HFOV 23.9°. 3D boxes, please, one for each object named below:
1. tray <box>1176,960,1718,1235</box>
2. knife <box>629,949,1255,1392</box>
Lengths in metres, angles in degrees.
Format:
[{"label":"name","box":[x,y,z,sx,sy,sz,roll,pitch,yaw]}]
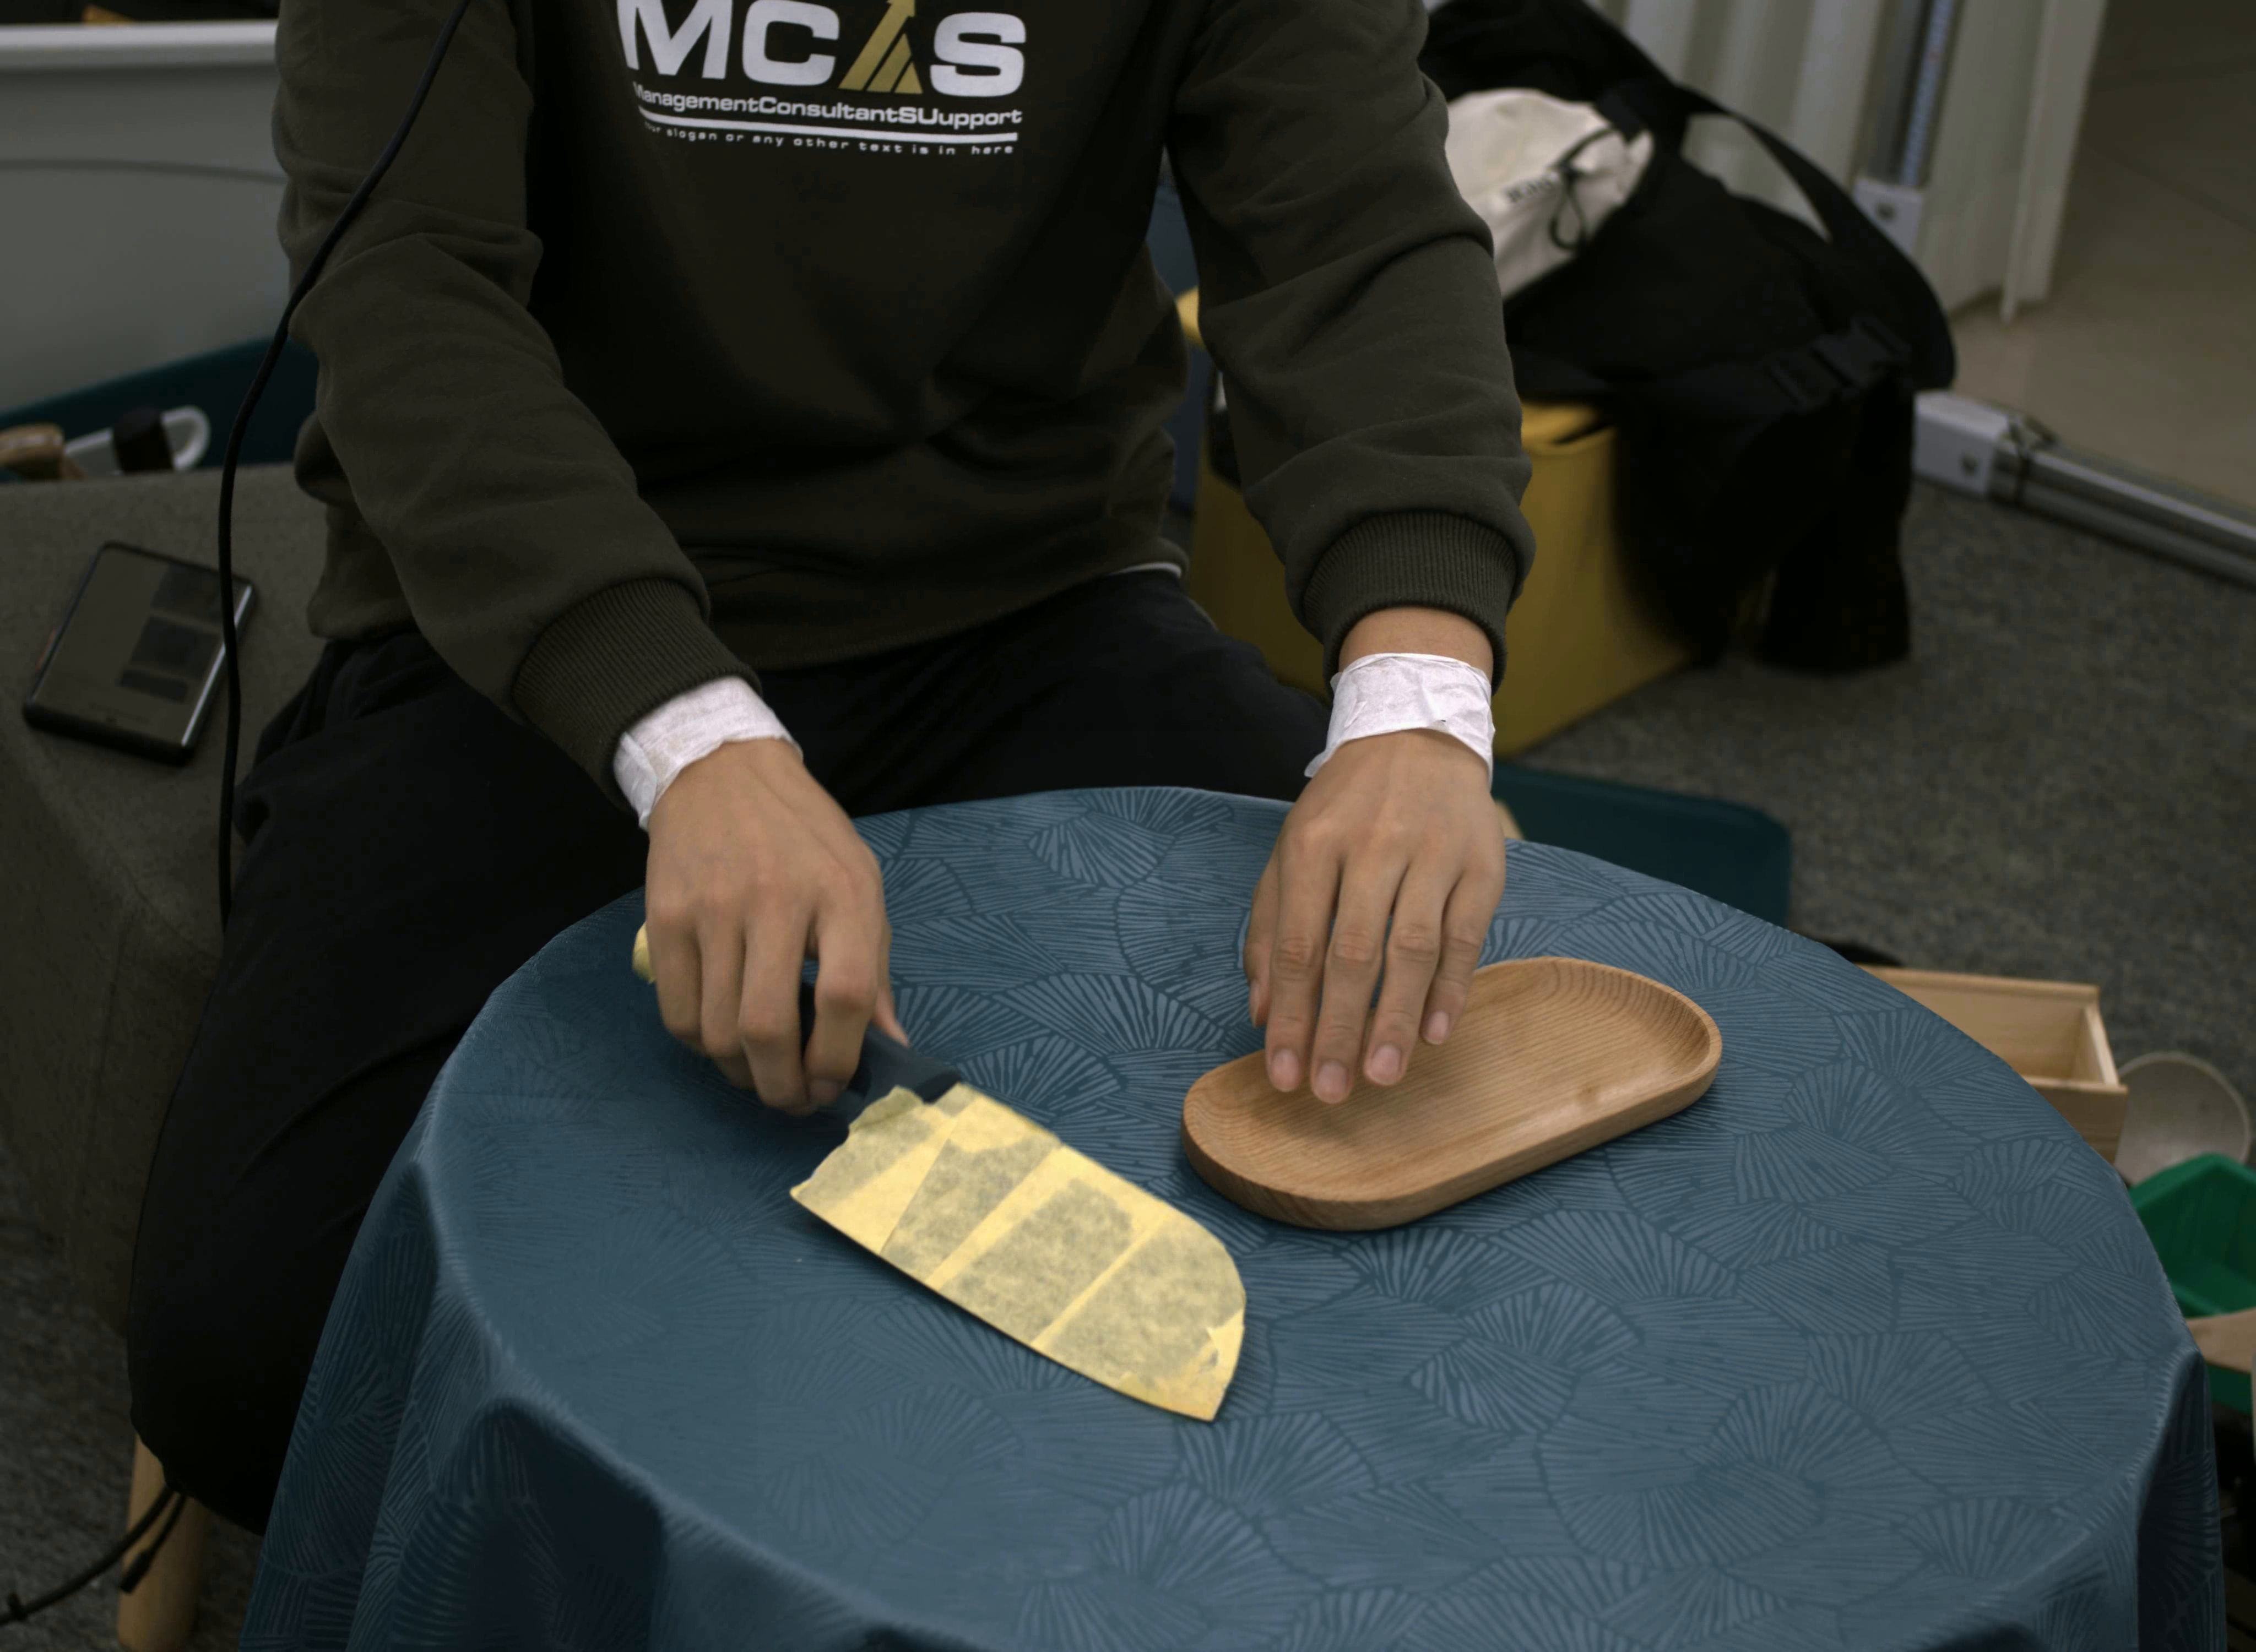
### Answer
[{"label":"tray","box":[0.114,0.095,1.871,0.230,0.020,0.102,-19,35,-39]},{"label":"knife","box":[-0.071,0.114,1.768,0.291,0.027,0.081,30,50,33]}]
